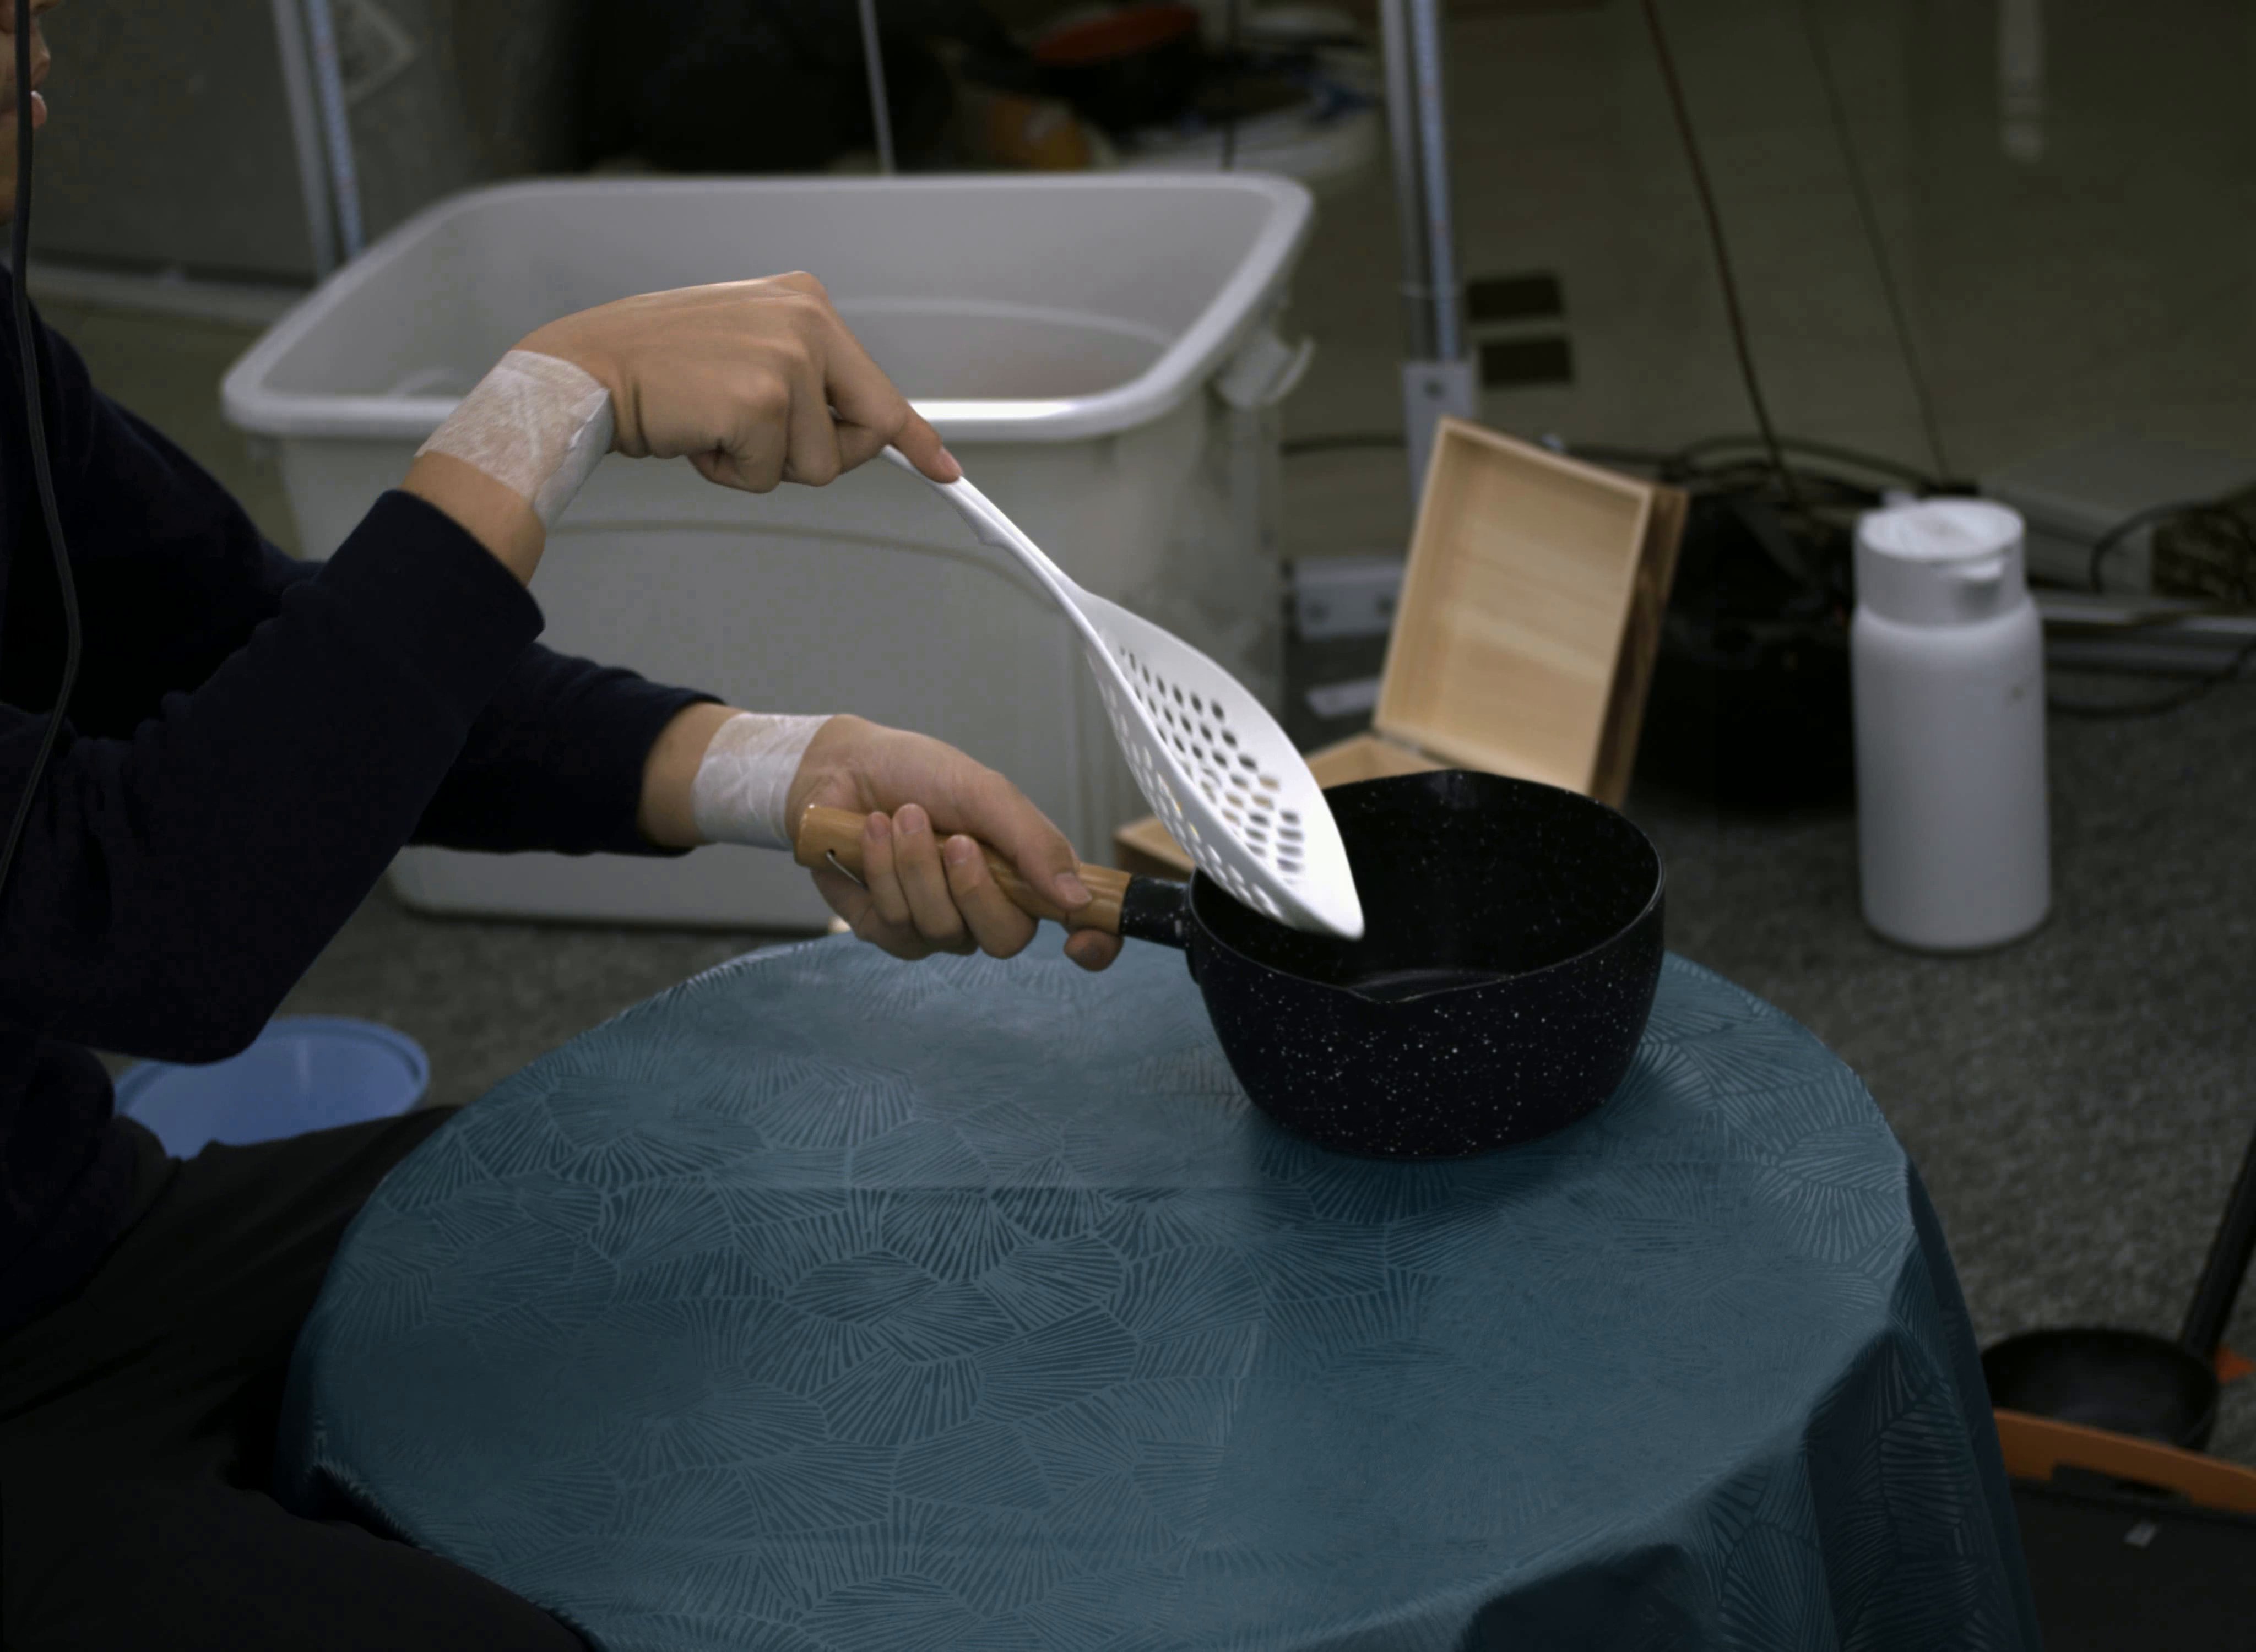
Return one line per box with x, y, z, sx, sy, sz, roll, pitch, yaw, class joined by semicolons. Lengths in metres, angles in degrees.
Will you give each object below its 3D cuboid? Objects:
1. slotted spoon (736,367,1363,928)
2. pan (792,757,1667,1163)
-0.025;-0.075;2.100;0.050;0.353;0.134;-30;40;16;slotted spoon
0.038;0.045;2.198;0.342;0.110;0.204;2;28;10;pan
